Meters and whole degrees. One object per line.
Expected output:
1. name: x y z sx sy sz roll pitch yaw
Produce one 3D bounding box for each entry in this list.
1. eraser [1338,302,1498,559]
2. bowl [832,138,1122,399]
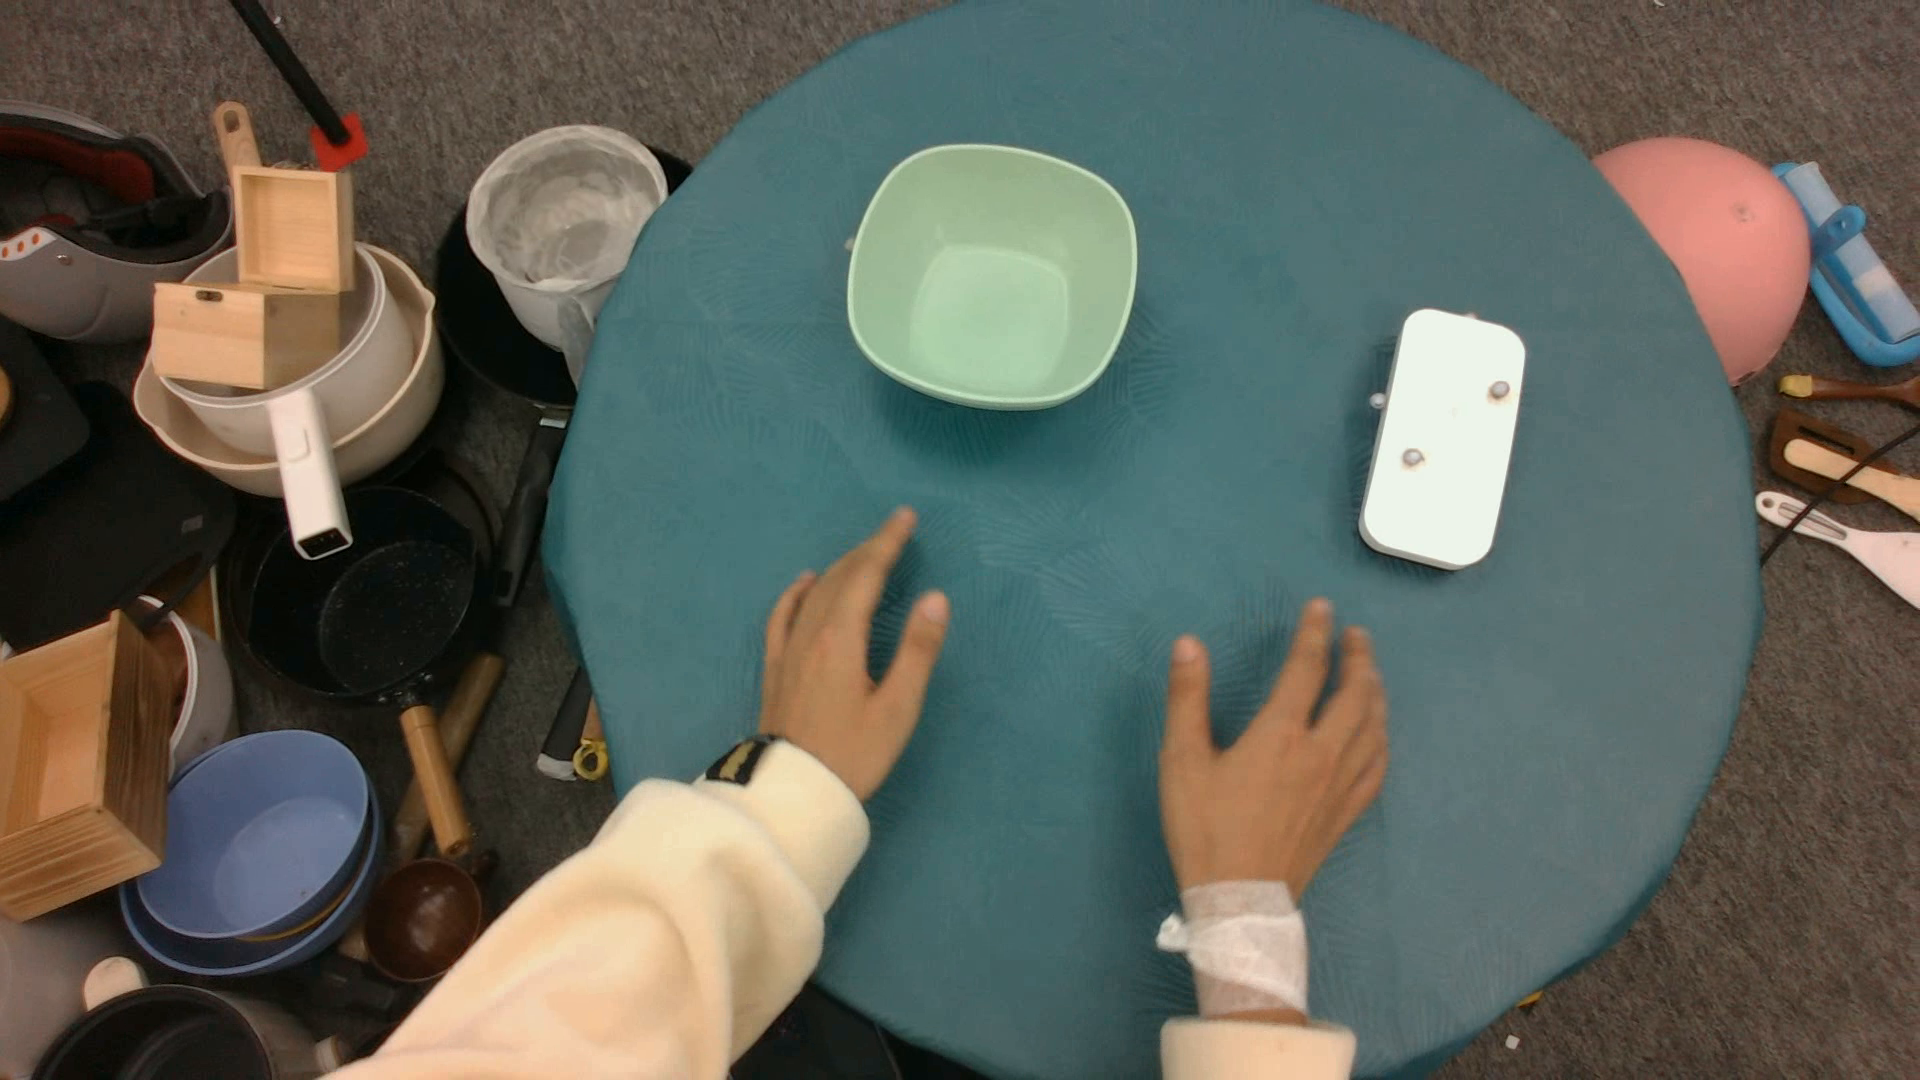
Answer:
1. eraser: 0.227 -0.057 0.688 0.063 0.034 0.131 15 71 4
2. bowl: 0.009 -0.127 0.694 0.151 0.058 0.152 0 71 1
